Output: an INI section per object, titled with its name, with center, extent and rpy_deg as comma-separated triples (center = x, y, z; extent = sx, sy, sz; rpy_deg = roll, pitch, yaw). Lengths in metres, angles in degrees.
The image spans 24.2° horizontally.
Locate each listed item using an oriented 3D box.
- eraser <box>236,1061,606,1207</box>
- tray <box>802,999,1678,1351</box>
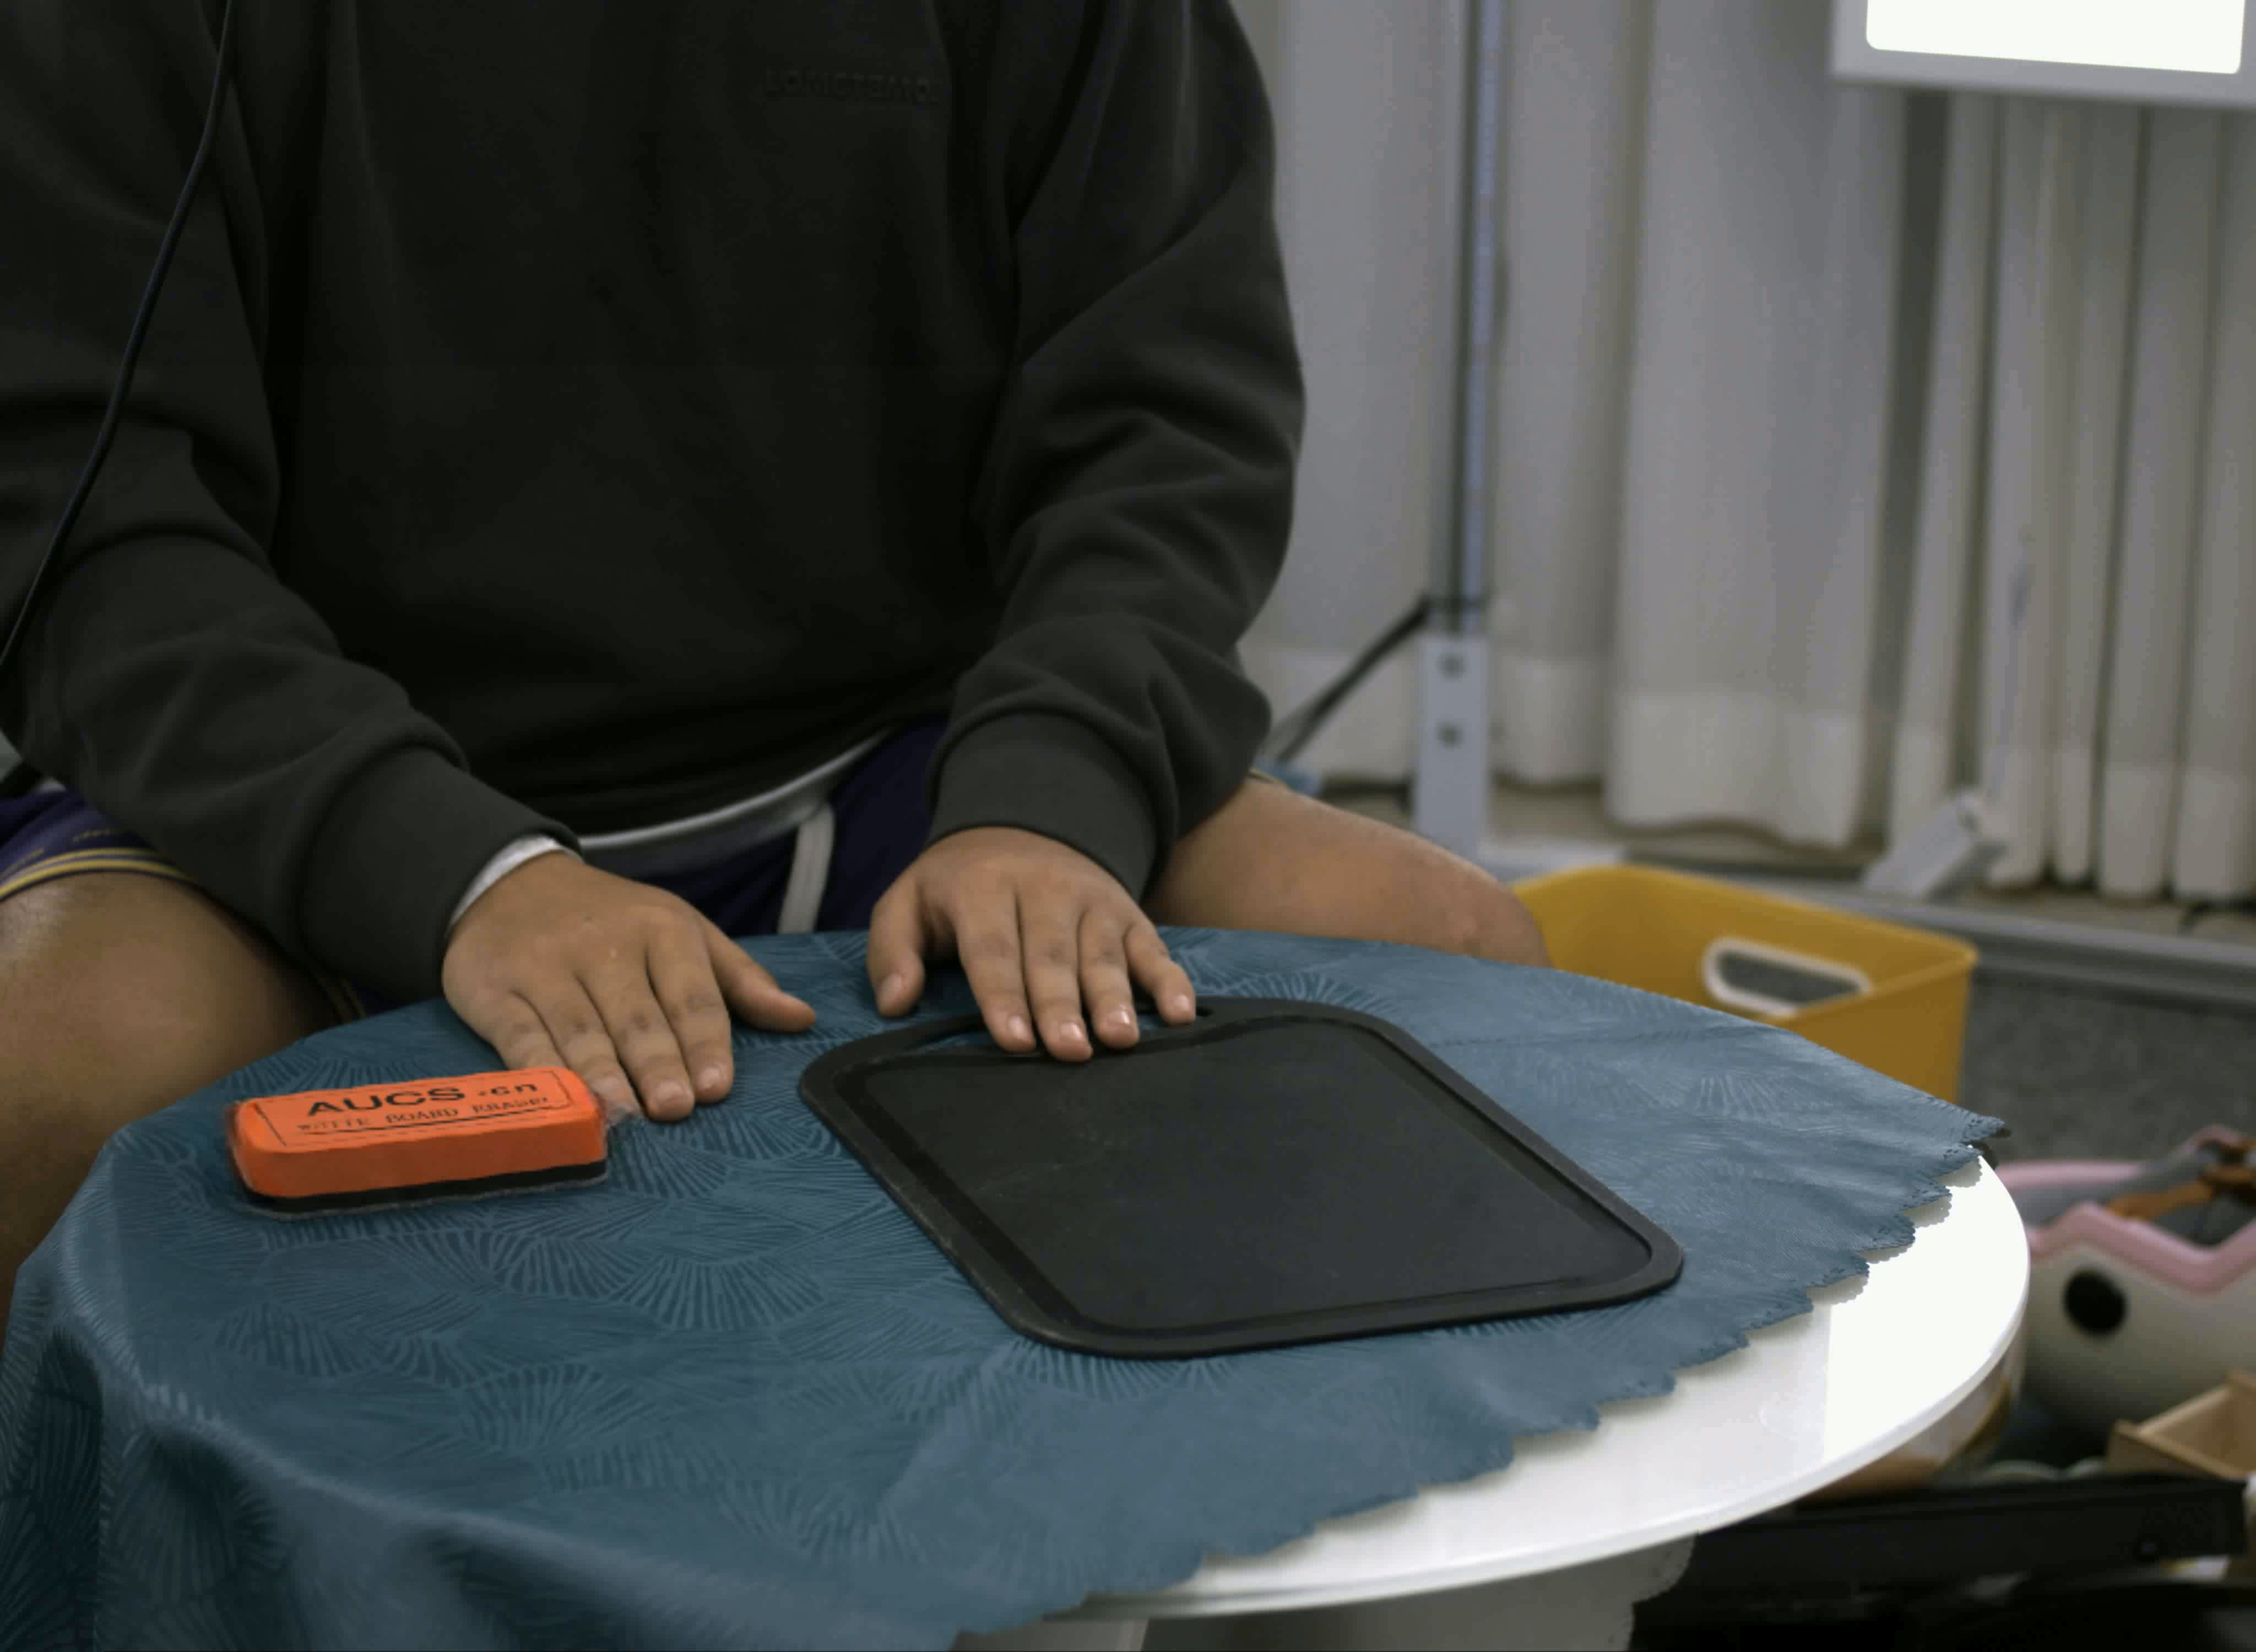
[eraser]
center = -0.218, 0.094, 1.624
extent = 0.108, 0.023, 0.058
rpy_deg = -4, 17, -21
[tray]
center = 0.024, 0.102, 1.650
extent = 0.211, 0.010, 0.322
rpy_deg = -4, 16, -19
